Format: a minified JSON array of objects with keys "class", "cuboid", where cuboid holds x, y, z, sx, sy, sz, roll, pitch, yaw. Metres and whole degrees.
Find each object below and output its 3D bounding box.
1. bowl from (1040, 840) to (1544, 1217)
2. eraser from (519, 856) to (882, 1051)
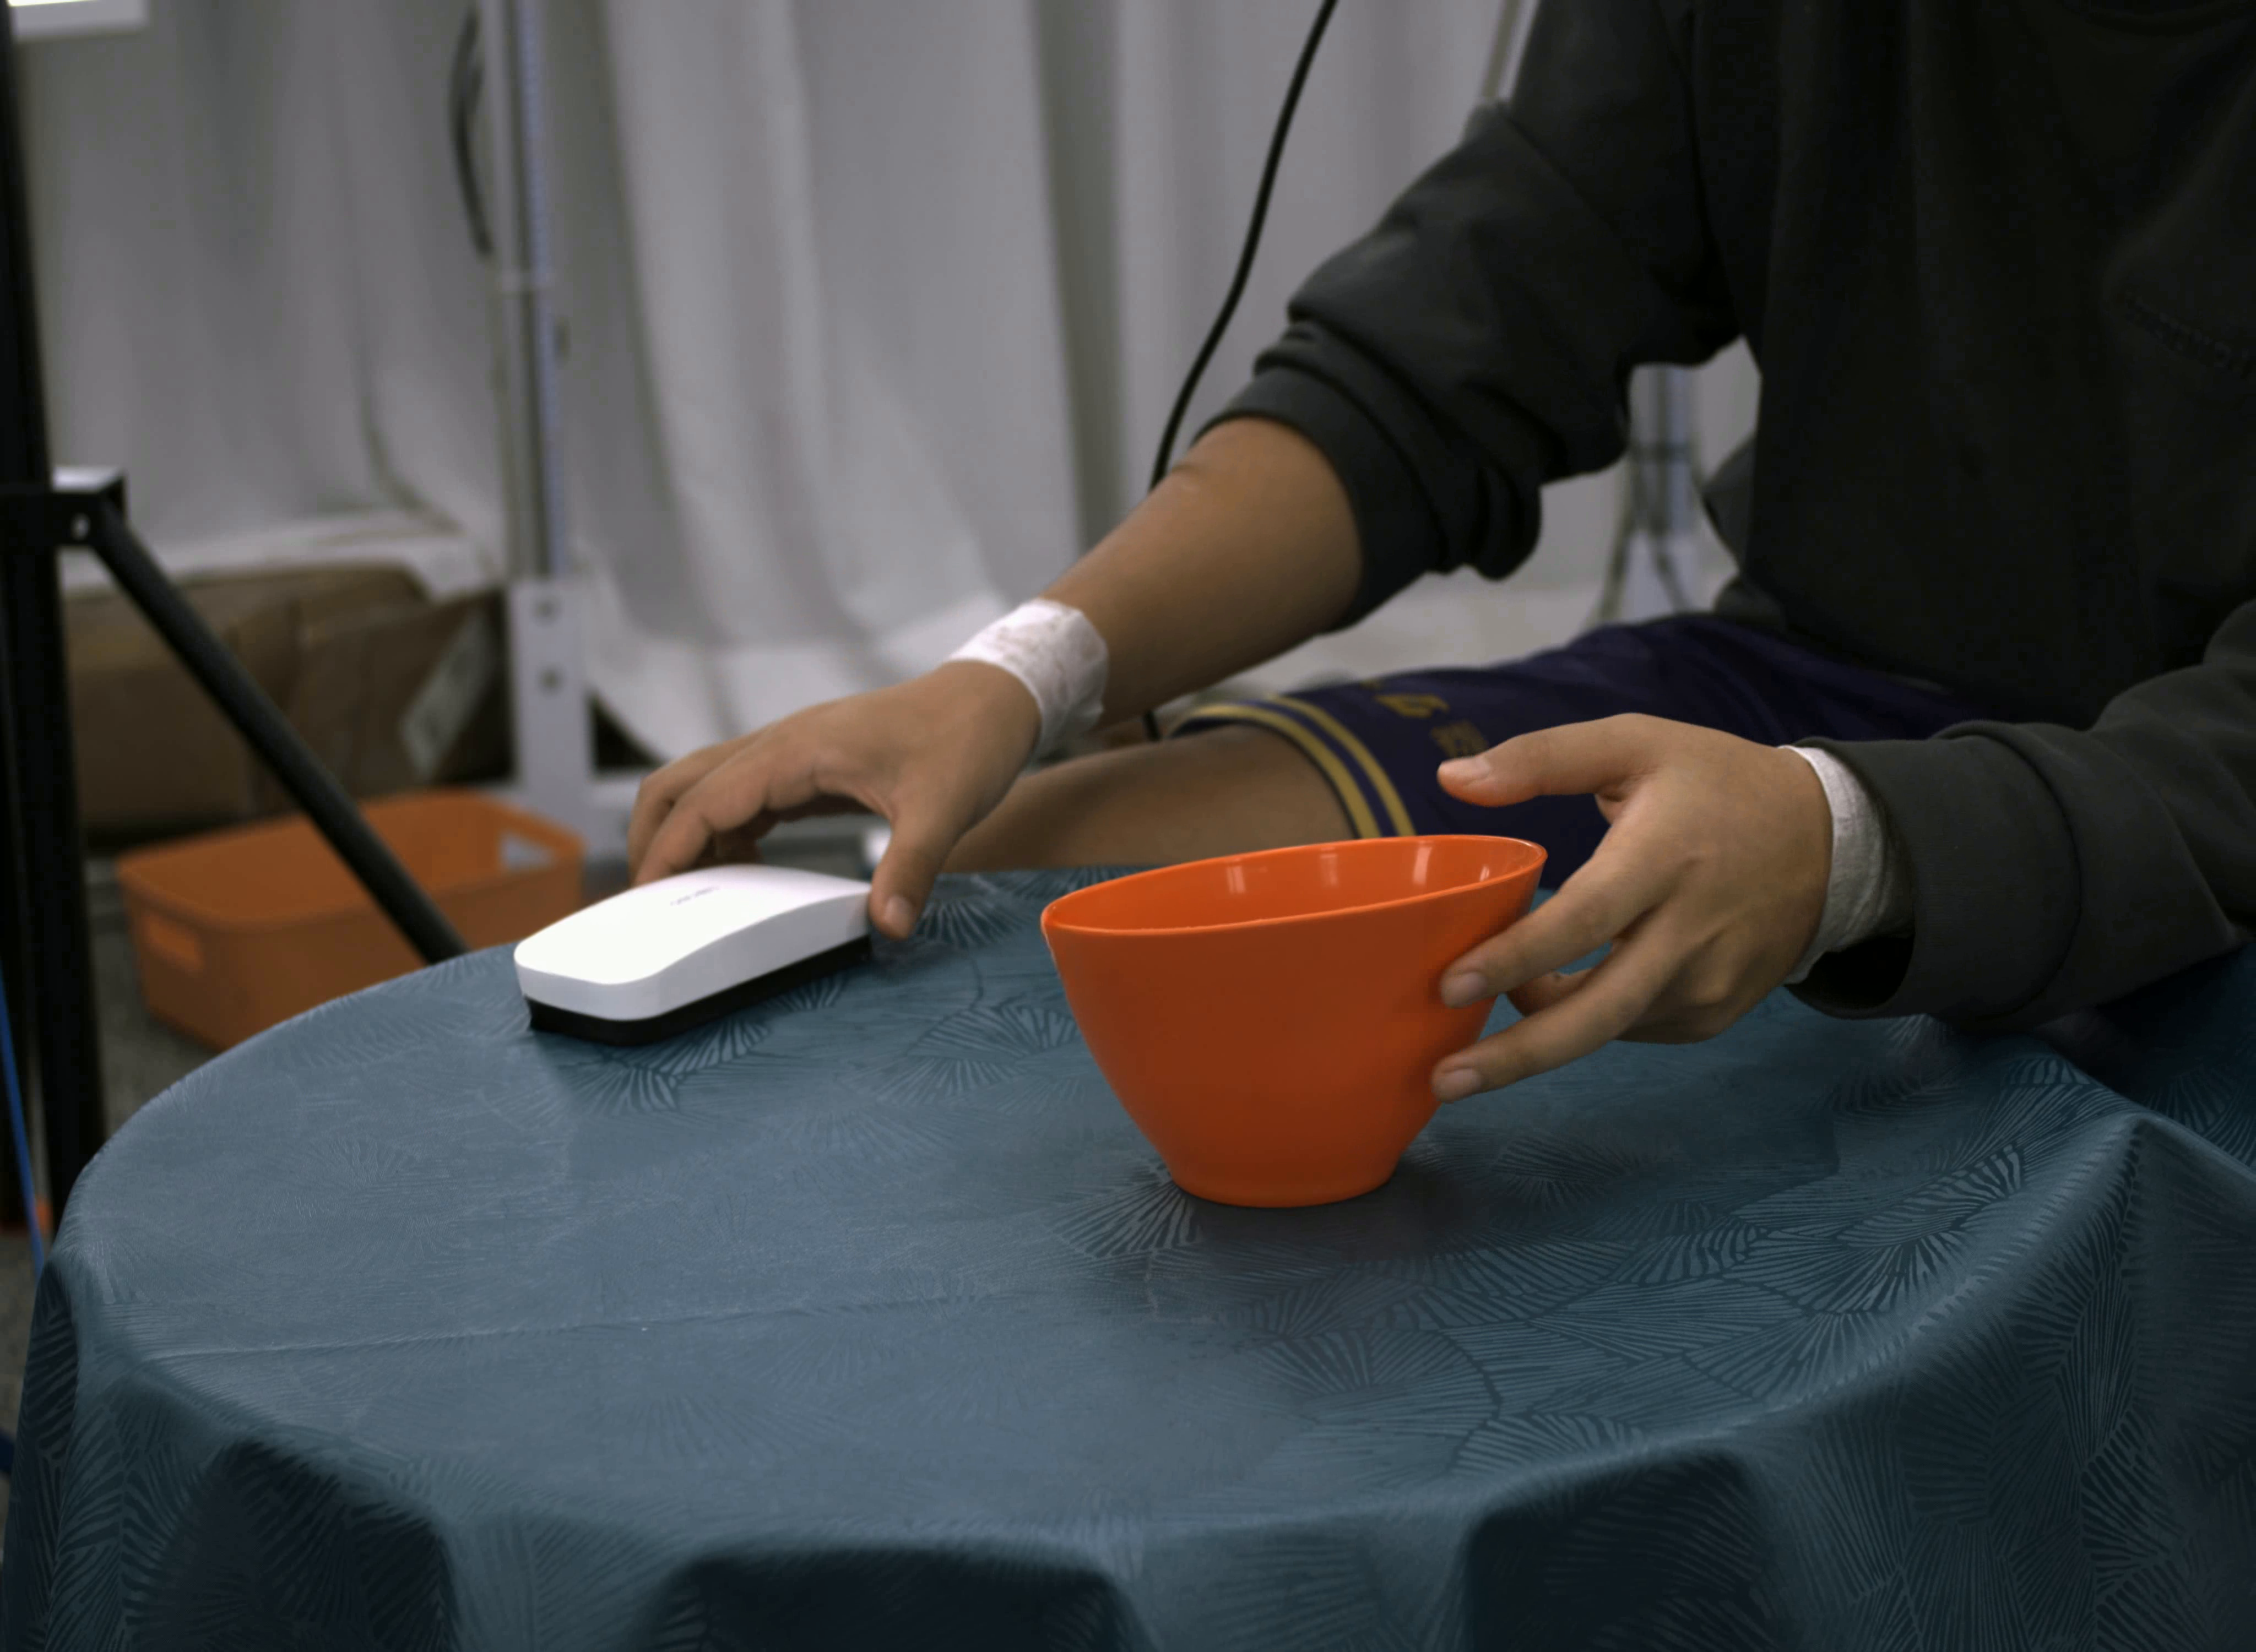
[{"class":"bowl","cuboid":[0.049,0.058,1.549,0.147,0.104,0.149,-3,15,-1]},{"class":"eraser","cuboid":[-0.139,0.039,1.768,0.065,0.034,0.128,12,23,39]}]
